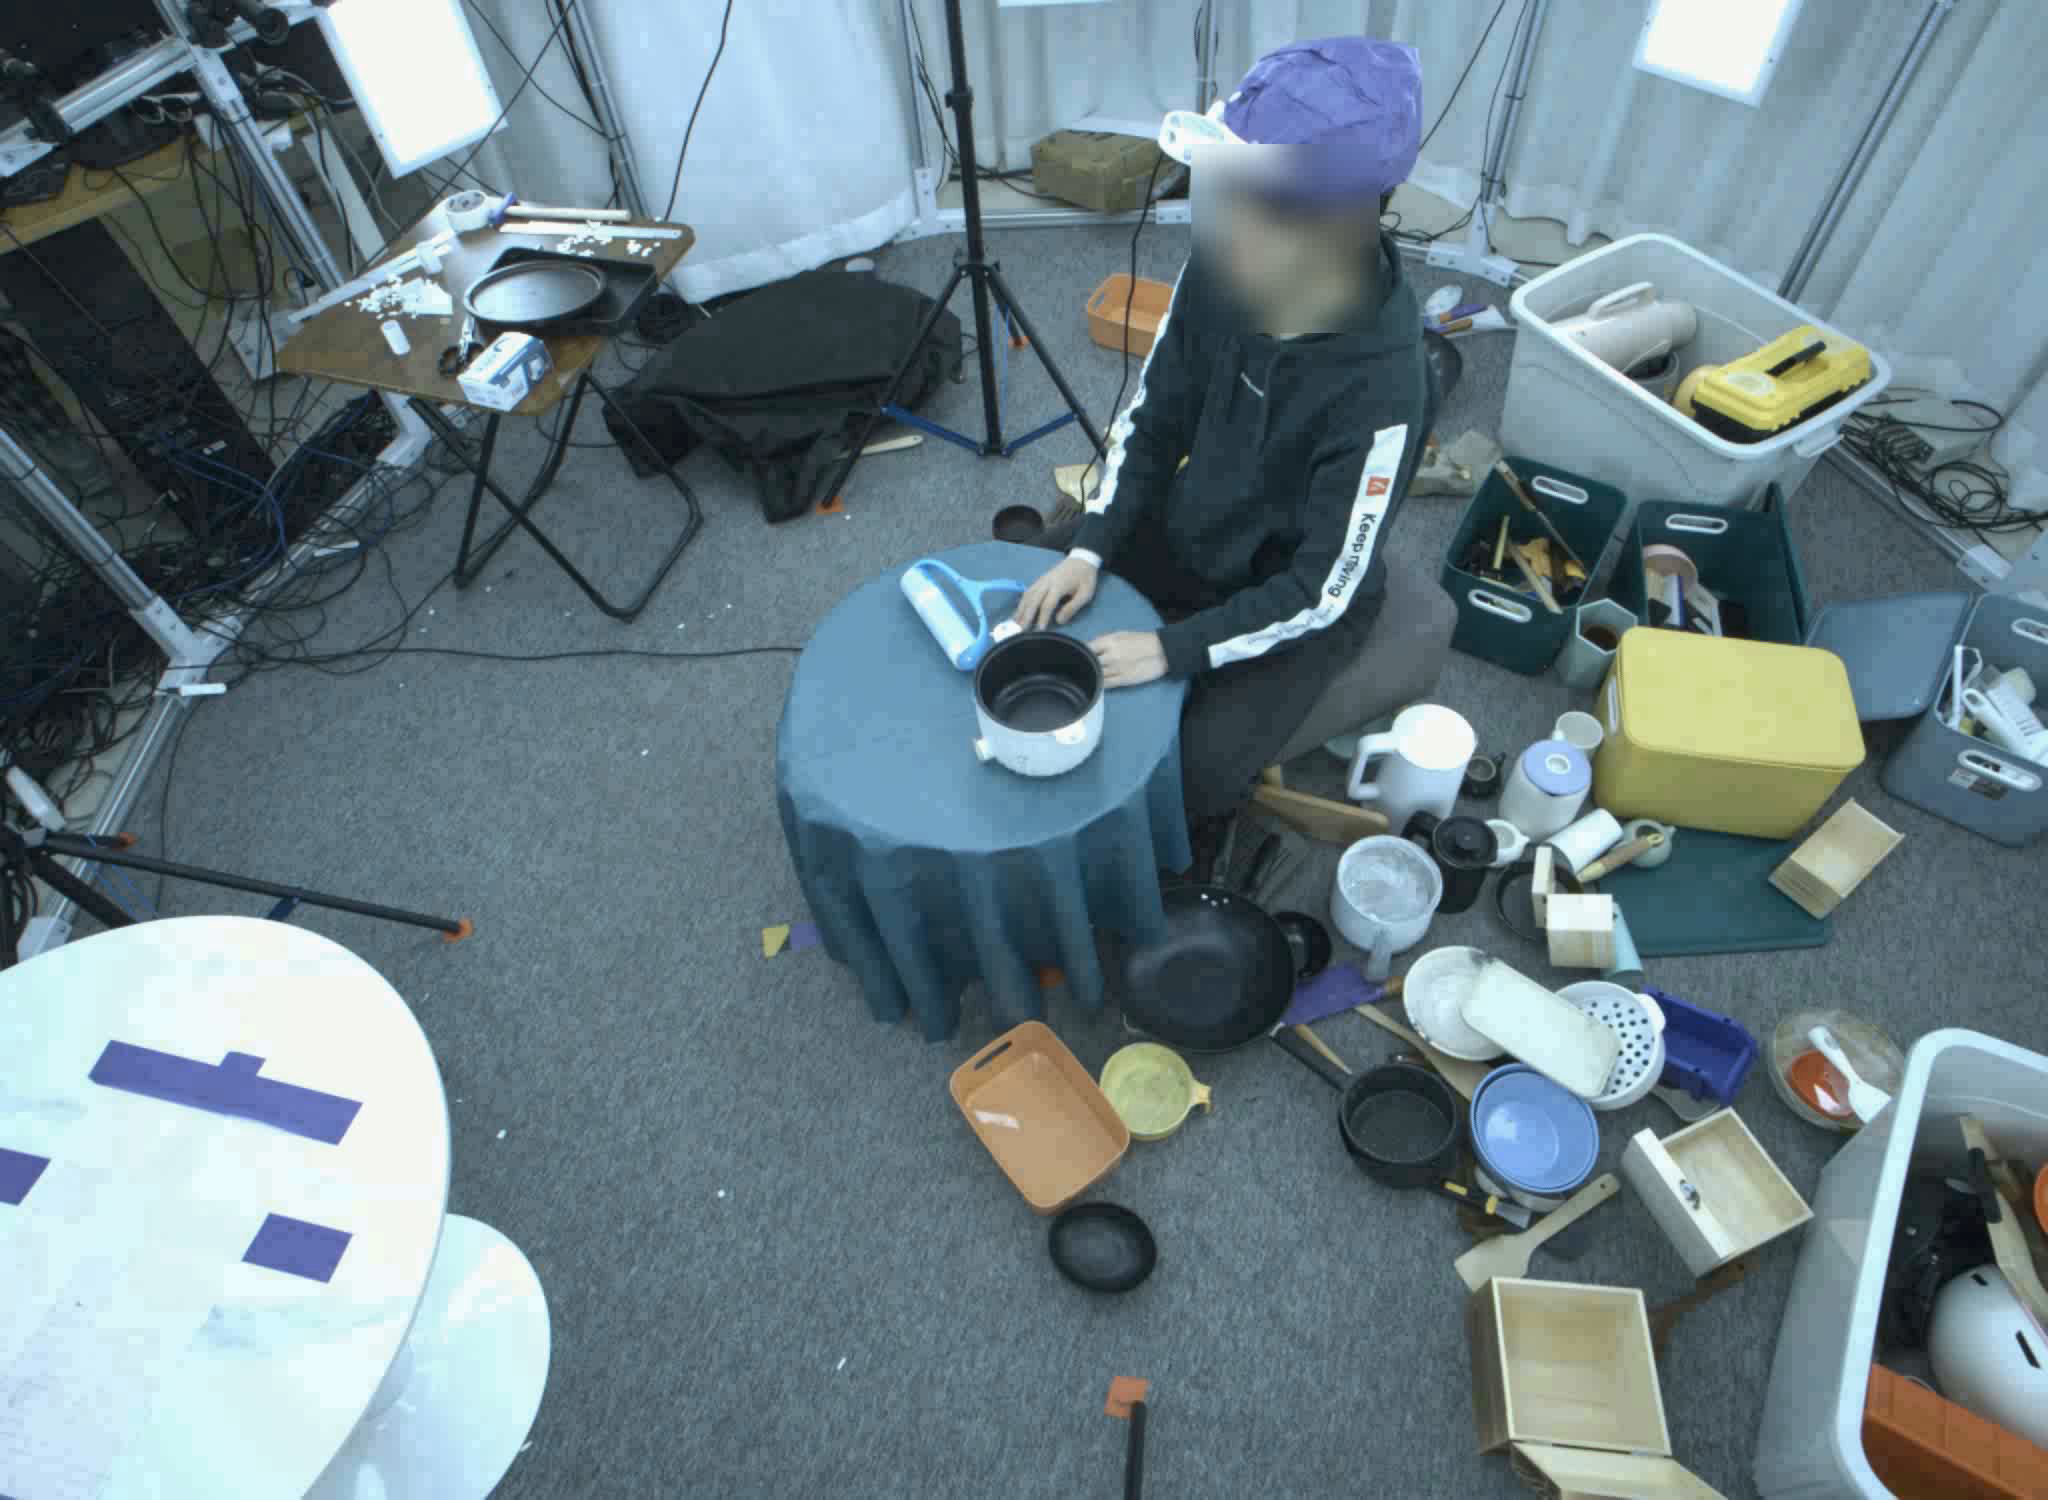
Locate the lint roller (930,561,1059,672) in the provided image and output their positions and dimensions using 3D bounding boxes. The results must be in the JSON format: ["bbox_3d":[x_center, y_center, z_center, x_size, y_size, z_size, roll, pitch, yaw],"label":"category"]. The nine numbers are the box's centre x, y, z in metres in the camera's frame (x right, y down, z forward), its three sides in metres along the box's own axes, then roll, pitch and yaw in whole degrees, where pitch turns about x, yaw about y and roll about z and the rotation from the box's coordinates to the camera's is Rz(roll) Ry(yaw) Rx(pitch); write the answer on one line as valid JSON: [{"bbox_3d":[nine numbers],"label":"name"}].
[{"bbox_3d":[-0.030,-0.230,1.912,0.181,0.069,0.224,-28,56,-15],"label":"lint roller"}]

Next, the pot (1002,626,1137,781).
[{"bbox_3d":[0.060,-0.049,1.730,0.192,0.144,0.236,-20,55,-15],"label":"pot"}]
